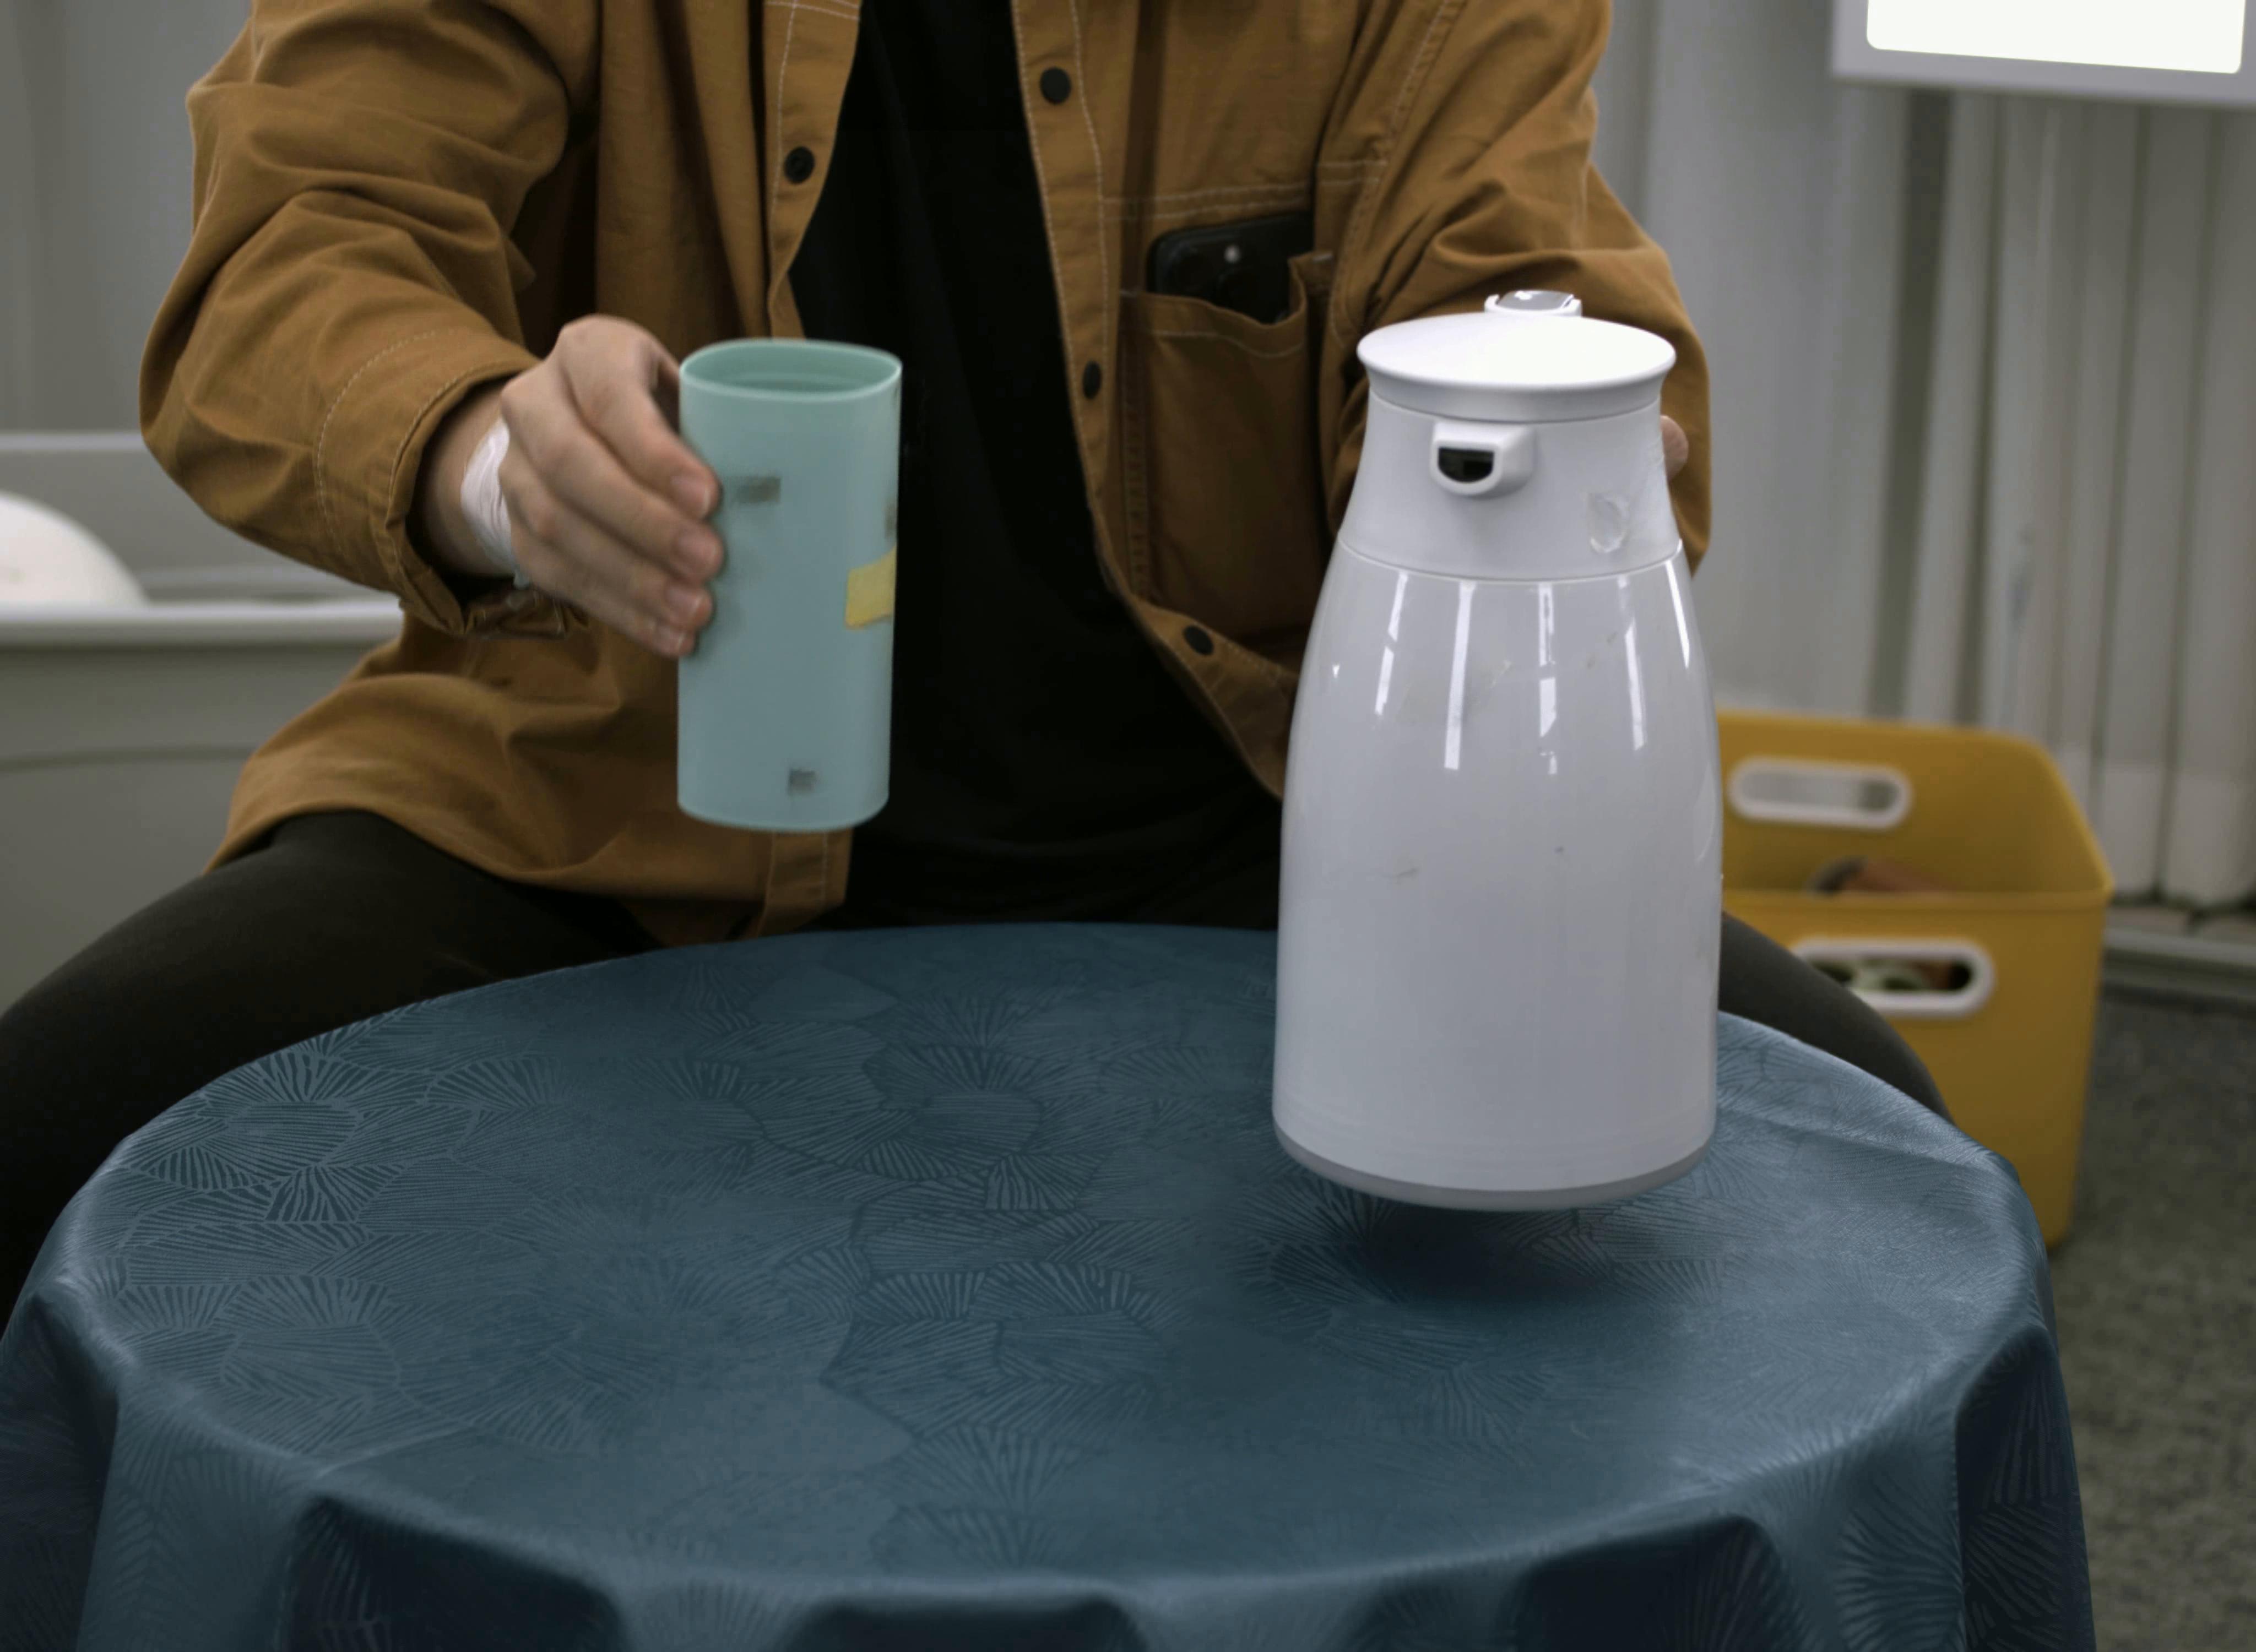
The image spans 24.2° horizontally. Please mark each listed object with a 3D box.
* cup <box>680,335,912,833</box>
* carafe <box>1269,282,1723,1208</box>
[{"bbox_3d":[-0.098,-0.071,1.518,0.066,0.133,0.066,3,19,0],"label":"cup"},{"bbox_3d":[0.114,-0.033,1.553,0.131,0.251,0.167,5,18,14],"label":"carafe"}]
